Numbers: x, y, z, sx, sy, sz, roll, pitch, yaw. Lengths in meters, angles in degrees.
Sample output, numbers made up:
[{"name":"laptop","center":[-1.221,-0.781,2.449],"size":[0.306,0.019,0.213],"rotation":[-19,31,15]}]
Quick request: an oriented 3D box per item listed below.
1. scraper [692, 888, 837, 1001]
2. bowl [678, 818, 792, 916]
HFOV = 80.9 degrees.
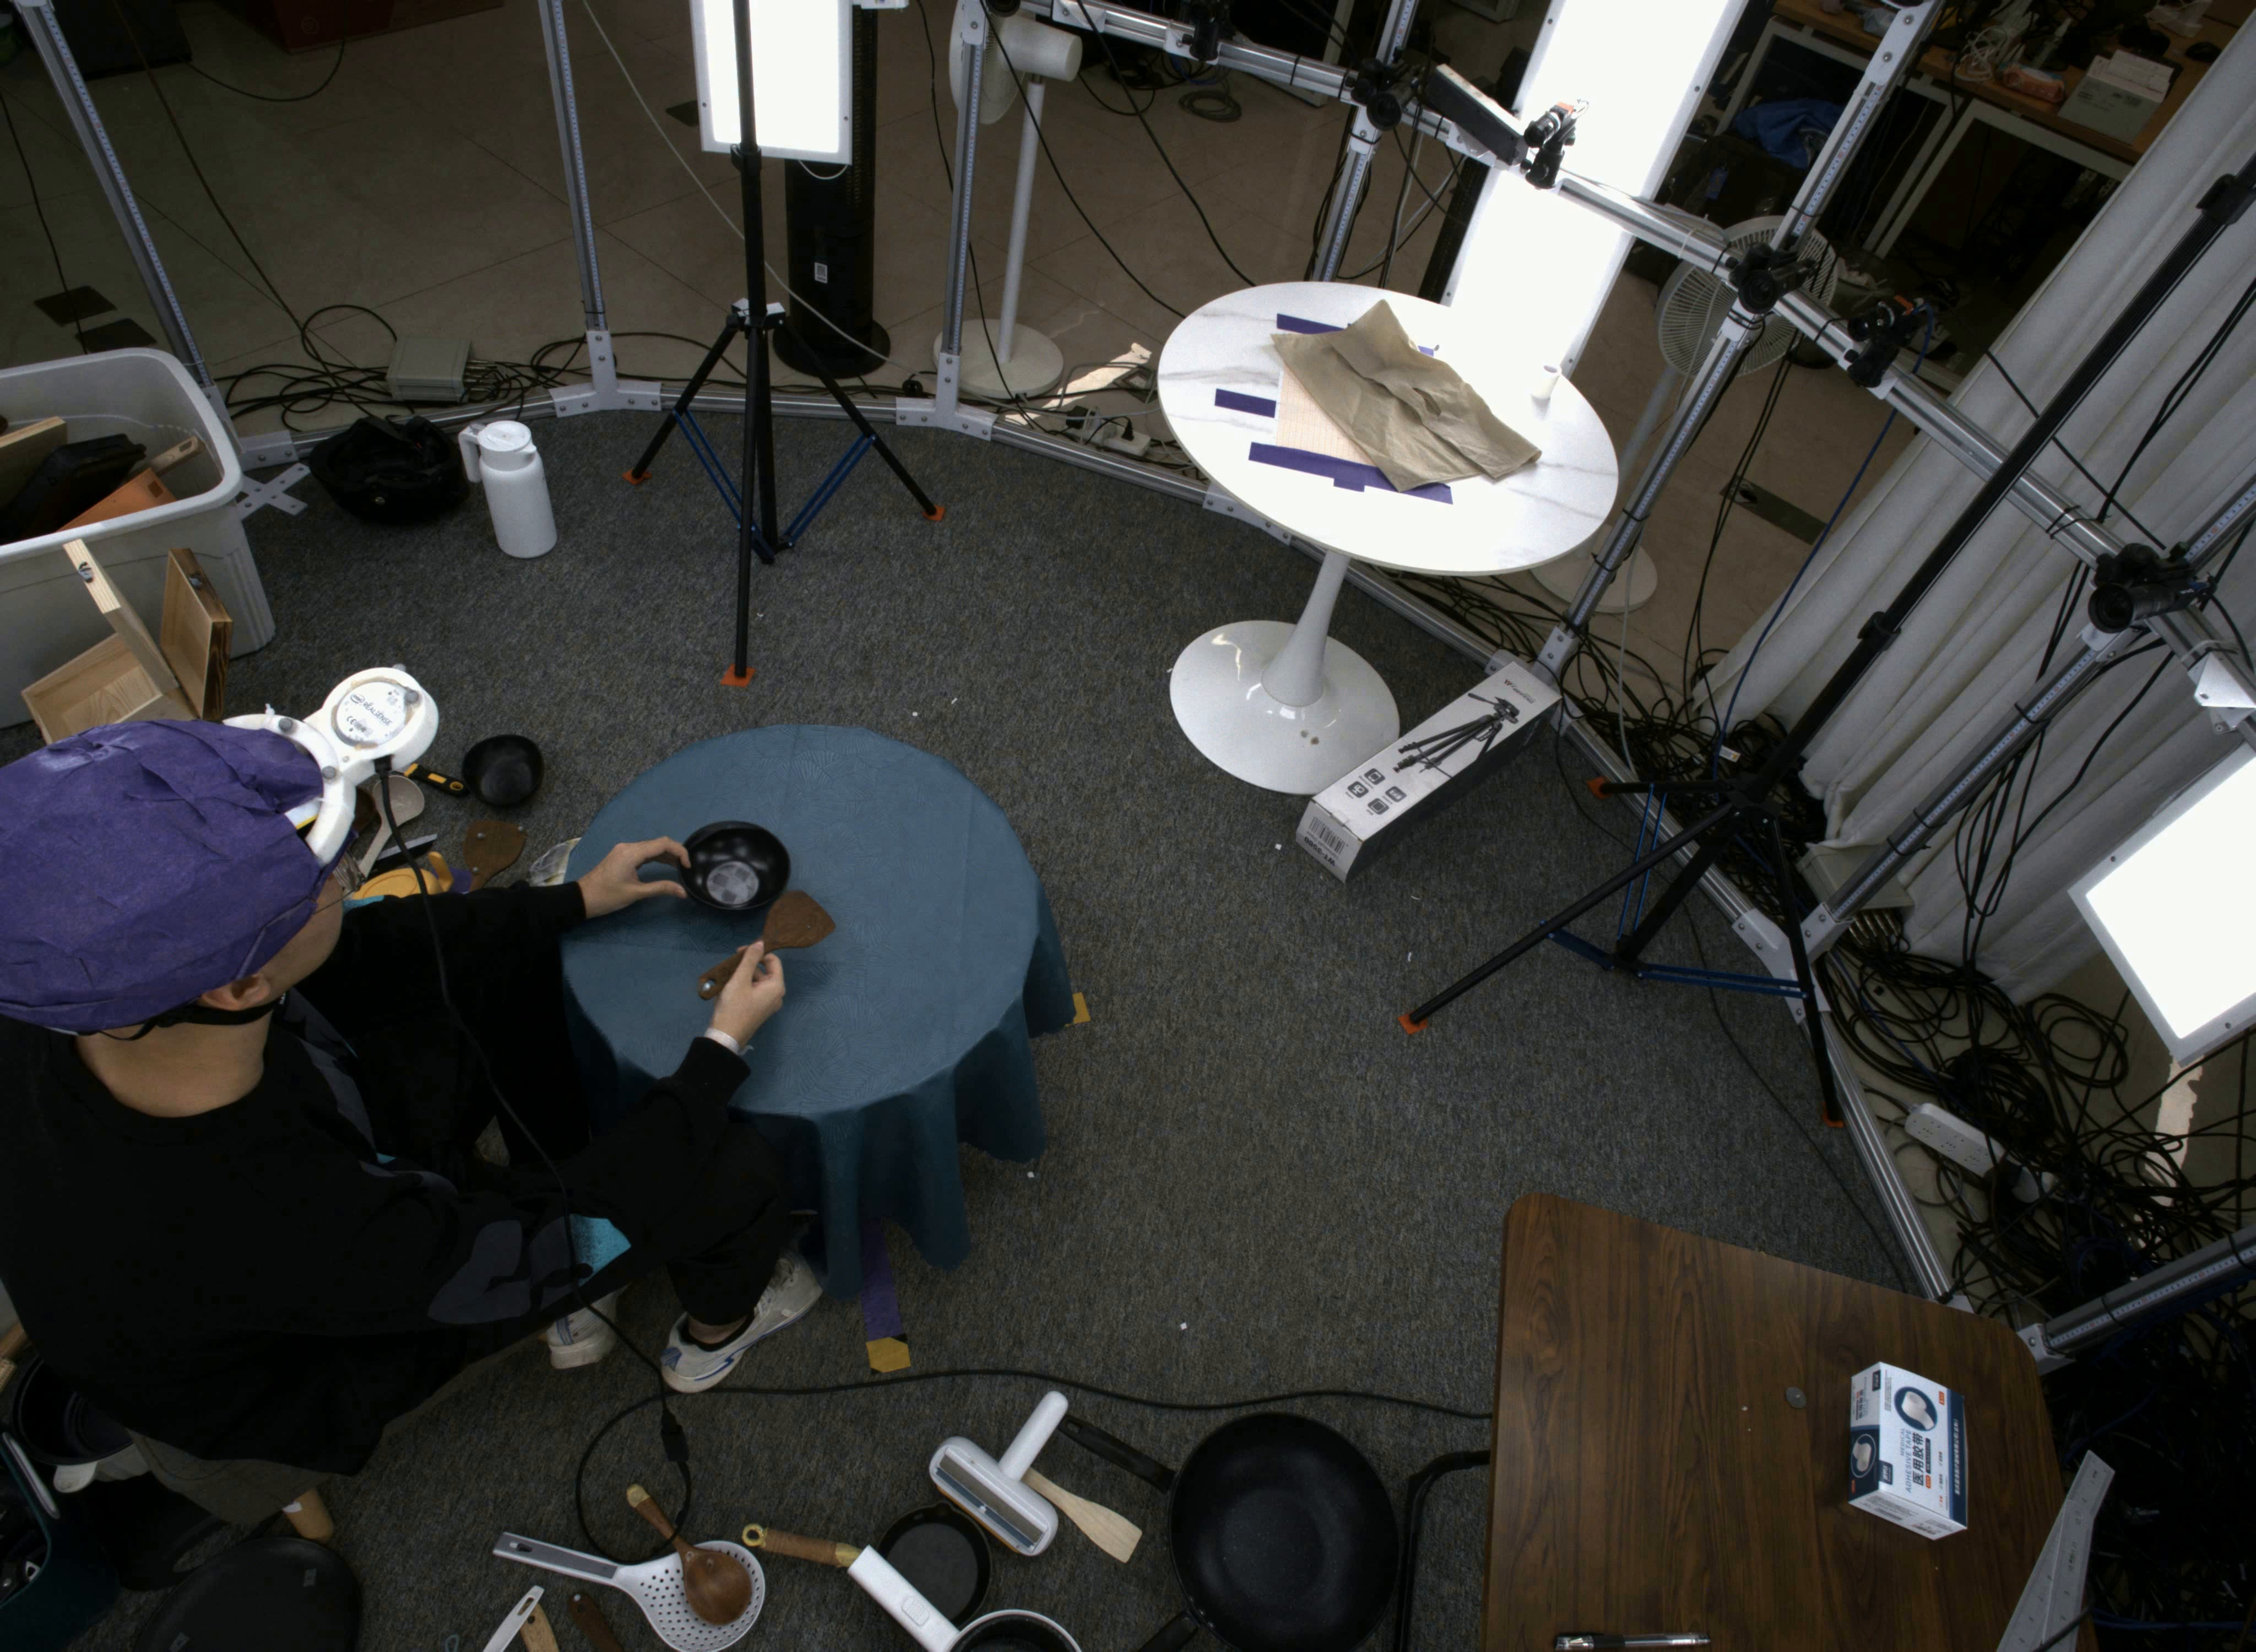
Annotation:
[{"name":"scraper","center":[-0.428,0.141,1.510],"size":[0.076,0.011,0.211],"rotation":[47,37,1]},{"name":"bowl","center":[-0.497,0.058,1.629],"size":[0.141,0.050,0.137],"rotation":[13,52,-15]}]
